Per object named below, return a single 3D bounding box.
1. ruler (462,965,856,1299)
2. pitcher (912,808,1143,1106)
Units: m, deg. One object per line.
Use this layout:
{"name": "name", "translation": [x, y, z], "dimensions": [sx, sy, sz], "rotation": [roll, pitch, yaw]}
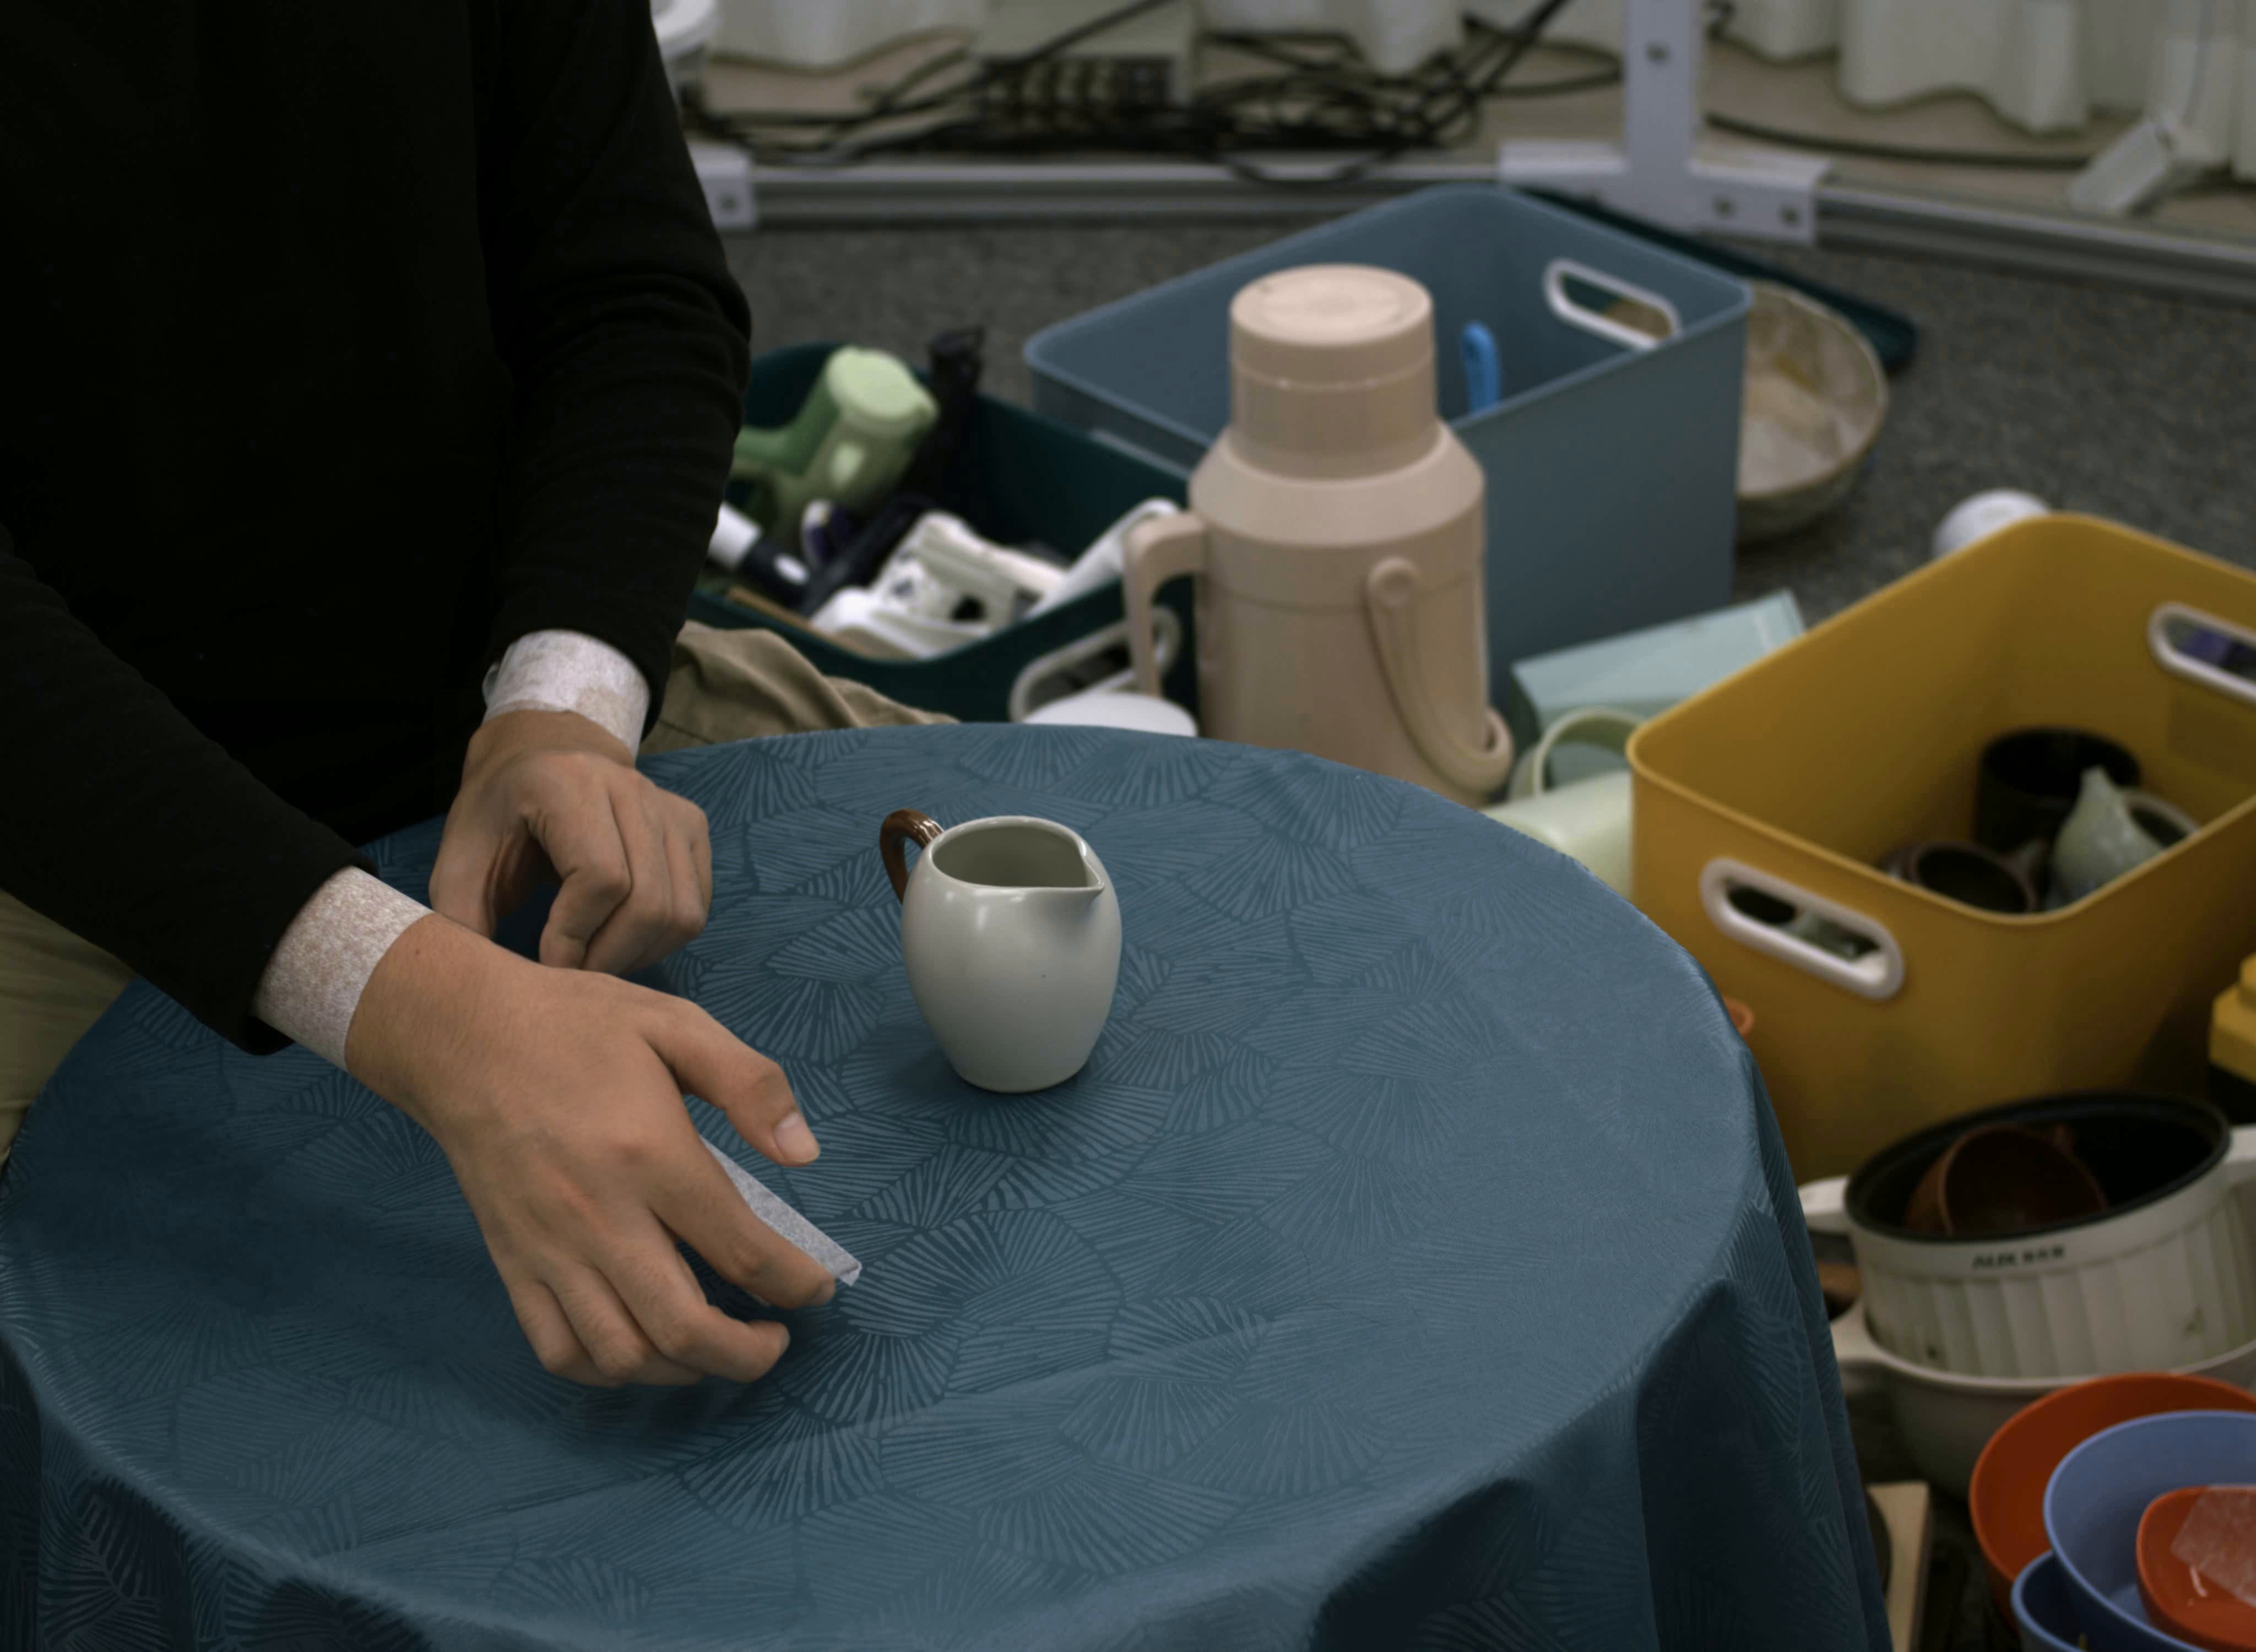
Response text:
{"name": "ruler", "translation": [-0.161, 0.097, 1.851], "dimensions": [0.038, 0.024, 0.219], "rotation": [-25, 33, -24]}
{"name": "pitcher", "translation": [-0.038, 0.044, 1.921], "dimensions": [0.076, 0.087, 0.119], "rotation": [-18, 31, -34]}
